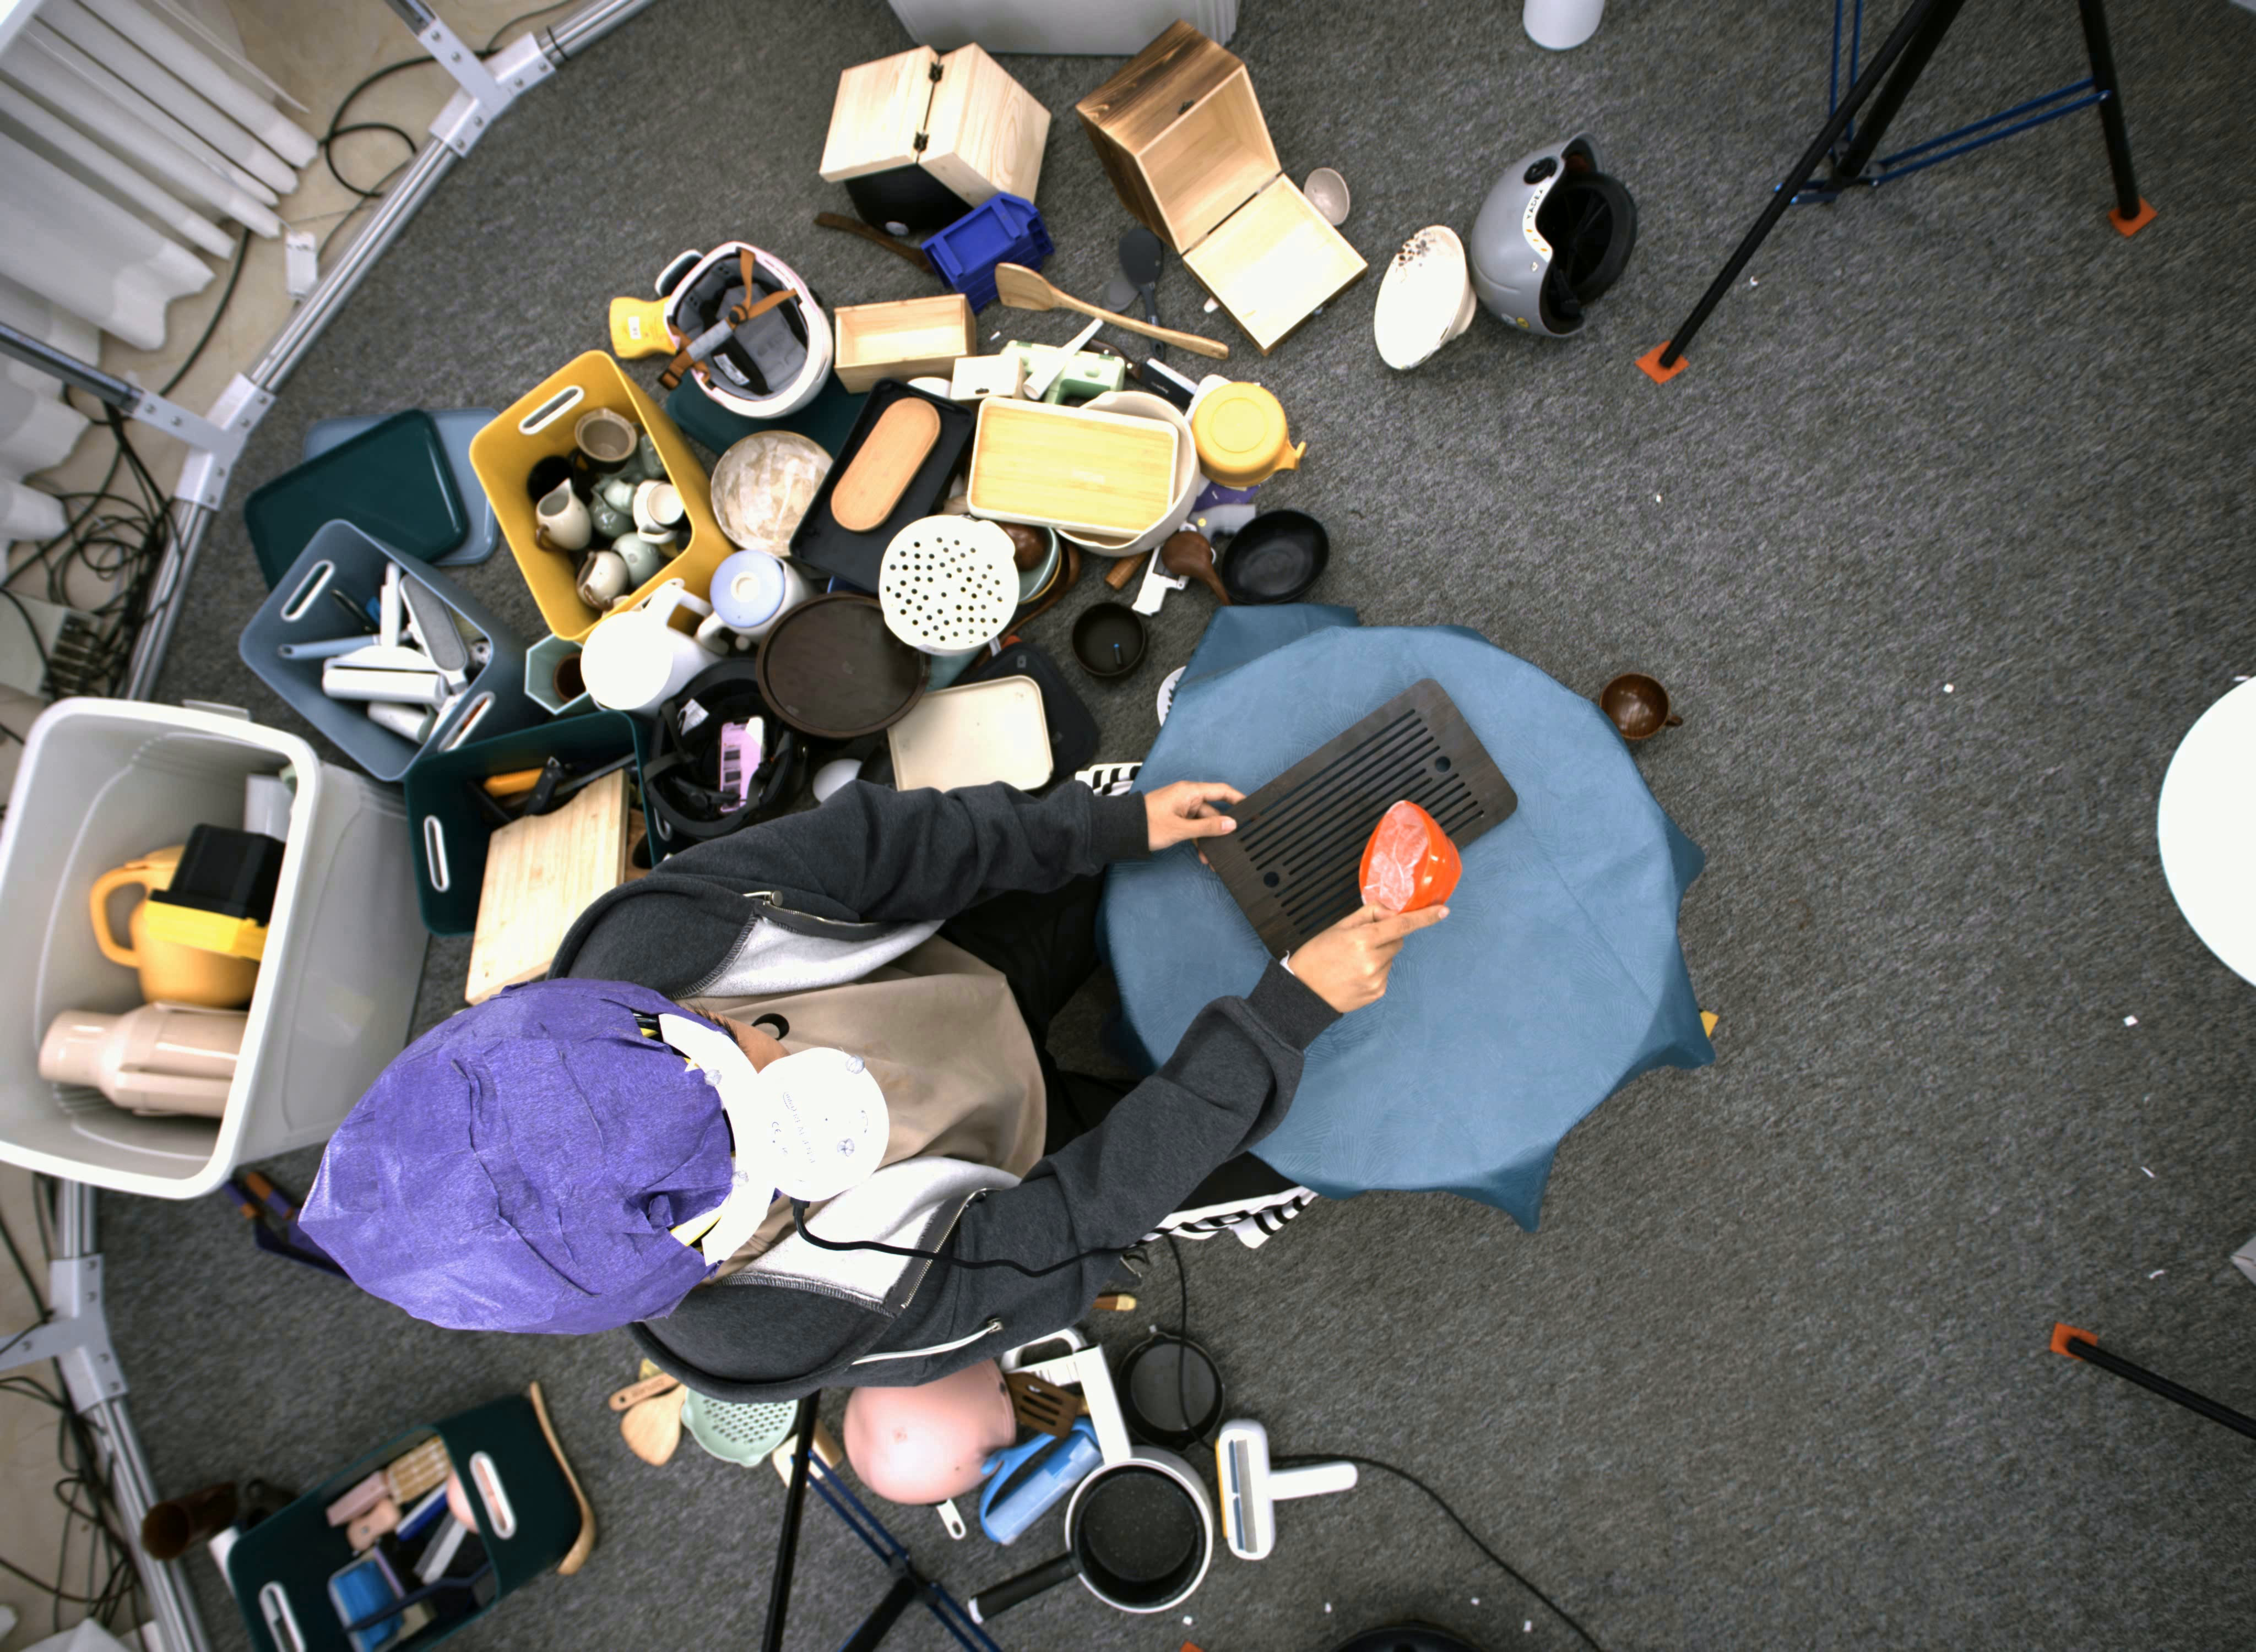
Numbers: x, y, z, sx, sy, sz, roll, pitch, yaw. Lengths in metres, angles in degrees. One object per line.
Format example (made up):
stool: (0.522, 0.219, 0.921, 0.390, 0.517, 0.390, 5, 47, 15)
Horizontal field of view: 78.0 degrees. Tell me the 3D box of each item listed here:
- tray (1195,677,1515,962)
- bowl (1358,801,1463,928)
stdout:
tray: (0.237, -0.008, 1.447, 0.307, 0.018, 0.170, -34, 88, 5)
bowl: (0.265, 0.038, 1.272, 0.051, 0.119, 0.118, 14, 87, -21)
